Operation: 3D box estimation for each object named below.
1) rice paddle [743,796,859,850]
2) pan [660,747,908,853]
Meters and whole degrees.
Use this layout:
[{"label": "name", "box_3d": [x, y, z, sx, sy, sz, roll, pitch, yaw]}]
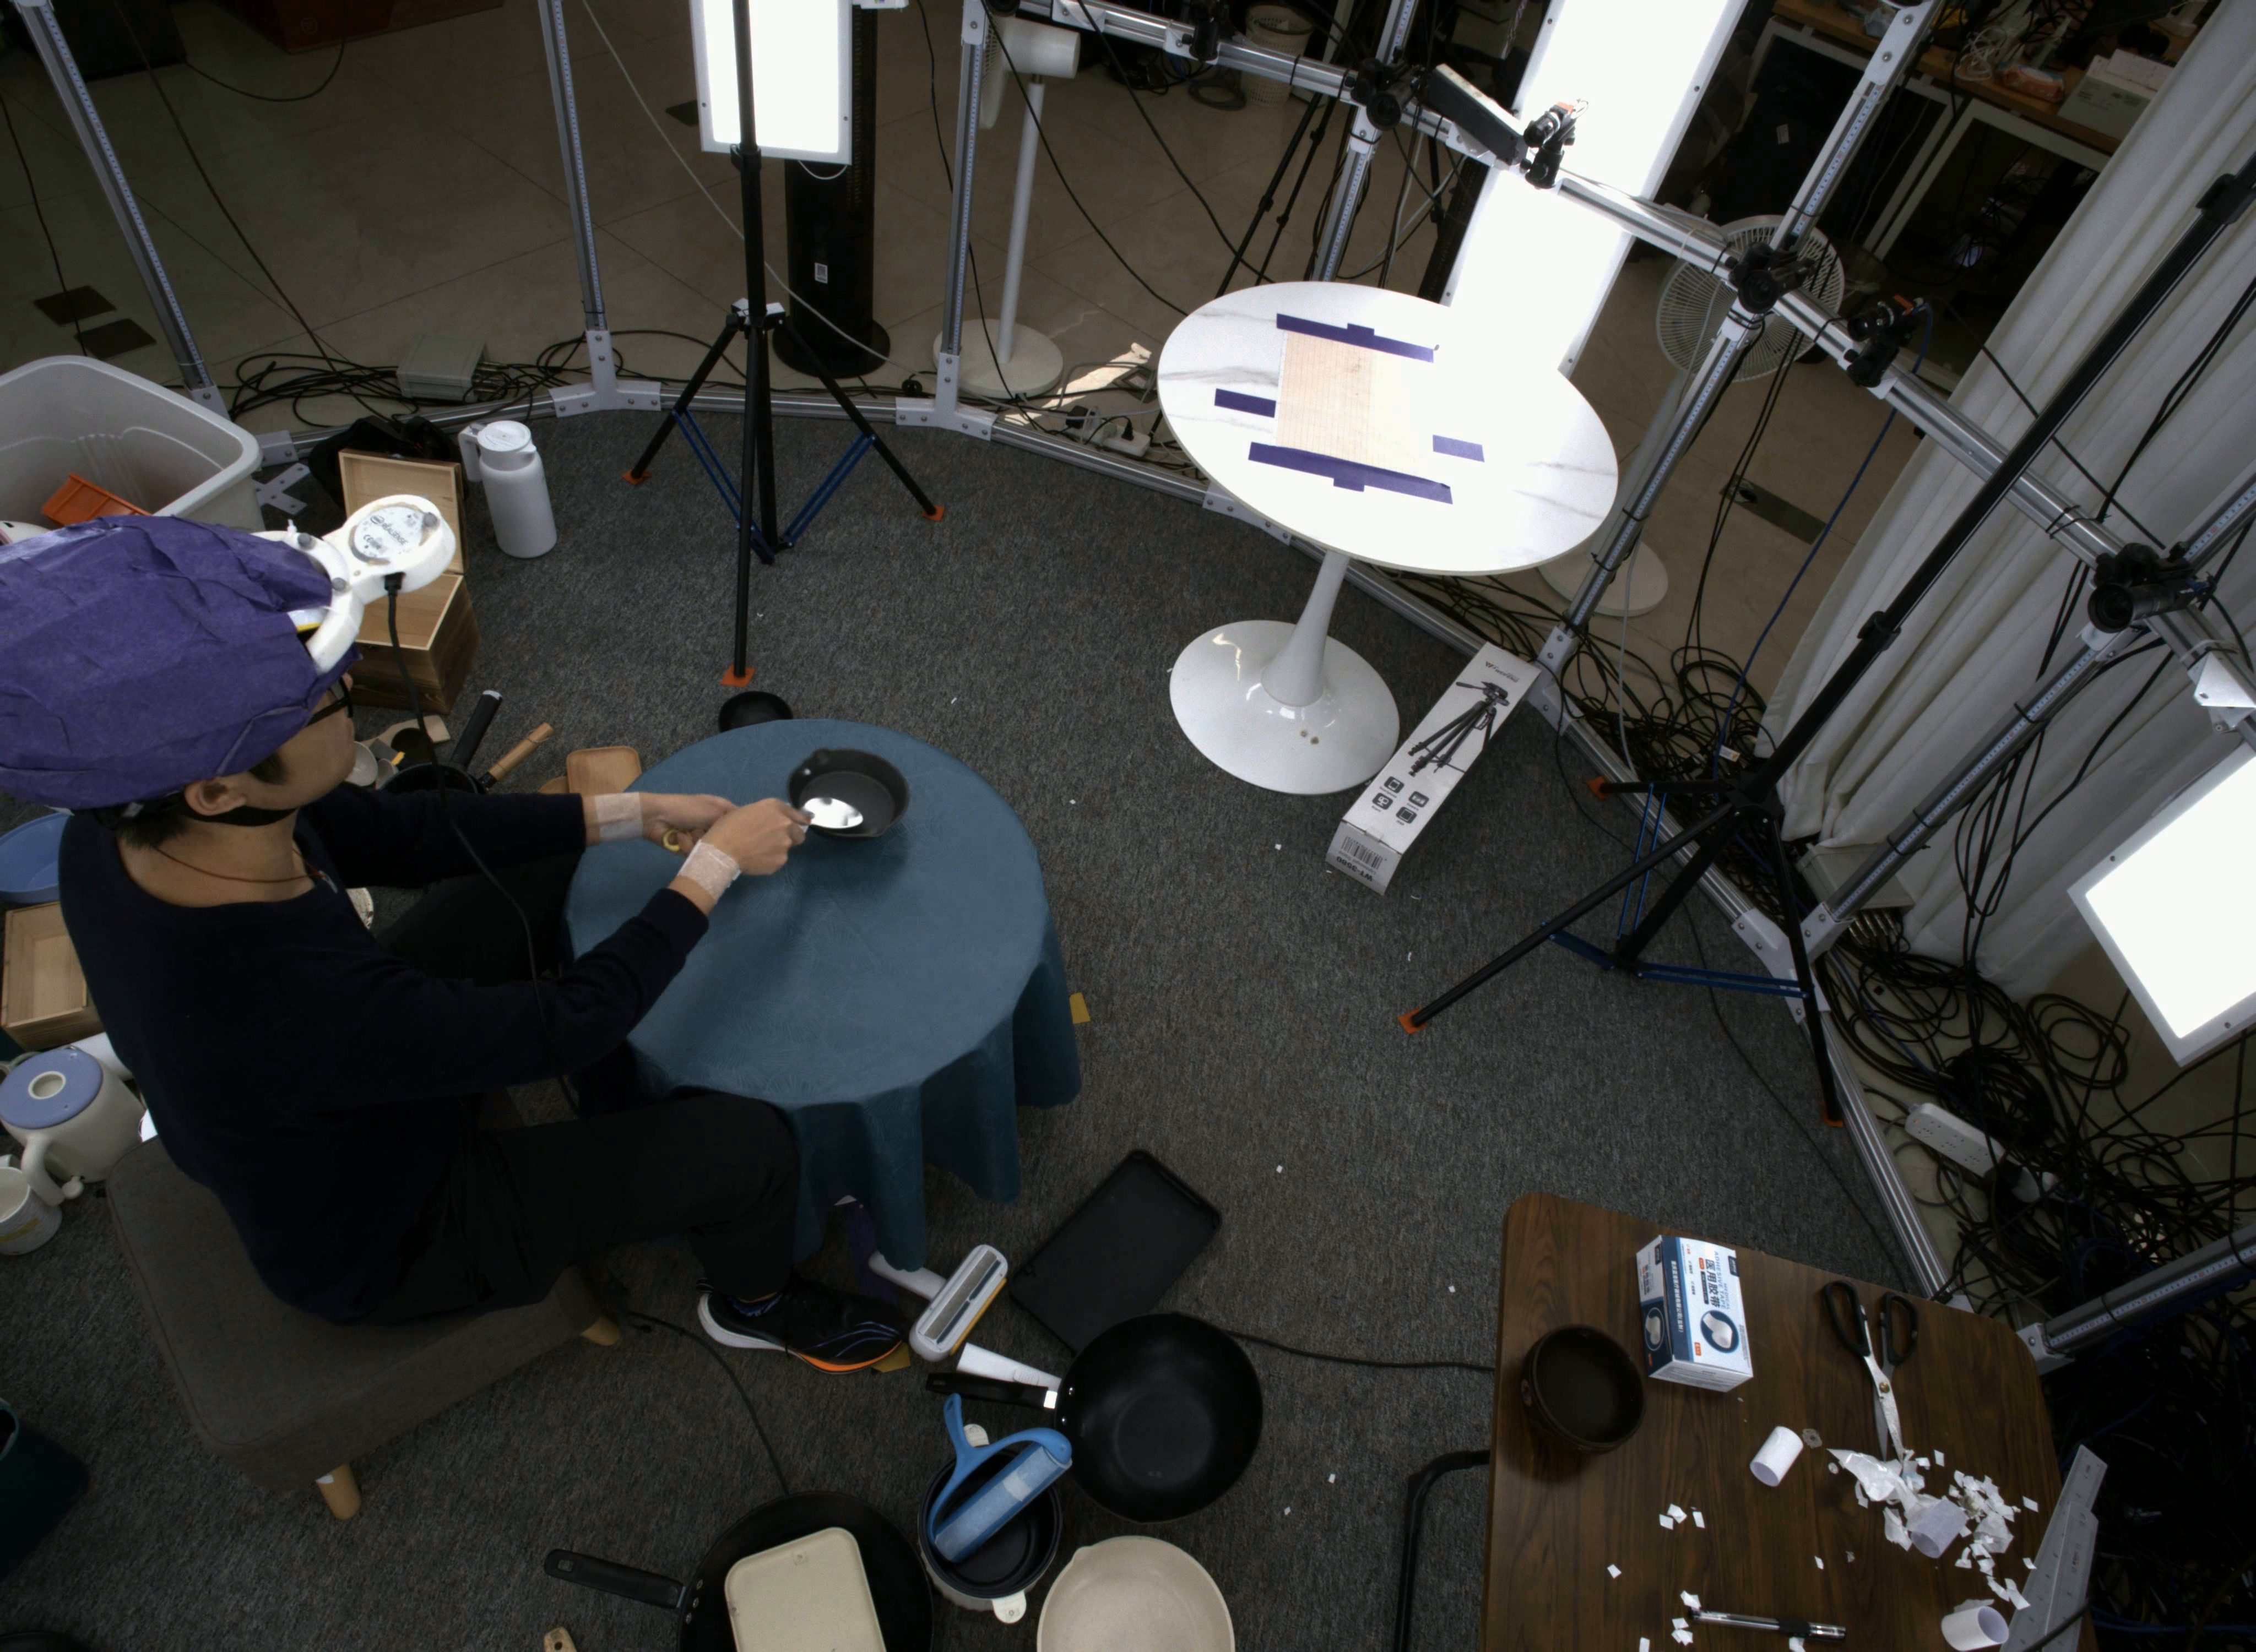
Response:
[{"label": "rice paddle", "box_3d": [-0.399, -0.009, 1.597, 0.067, 0.030, 0.206, 33, 21, 12]}, {"label": "pan", "box_3d": [-0.433, -0.017, 1.632, 0.327, 0.050, 0.164, -18, 57, -33]}]
